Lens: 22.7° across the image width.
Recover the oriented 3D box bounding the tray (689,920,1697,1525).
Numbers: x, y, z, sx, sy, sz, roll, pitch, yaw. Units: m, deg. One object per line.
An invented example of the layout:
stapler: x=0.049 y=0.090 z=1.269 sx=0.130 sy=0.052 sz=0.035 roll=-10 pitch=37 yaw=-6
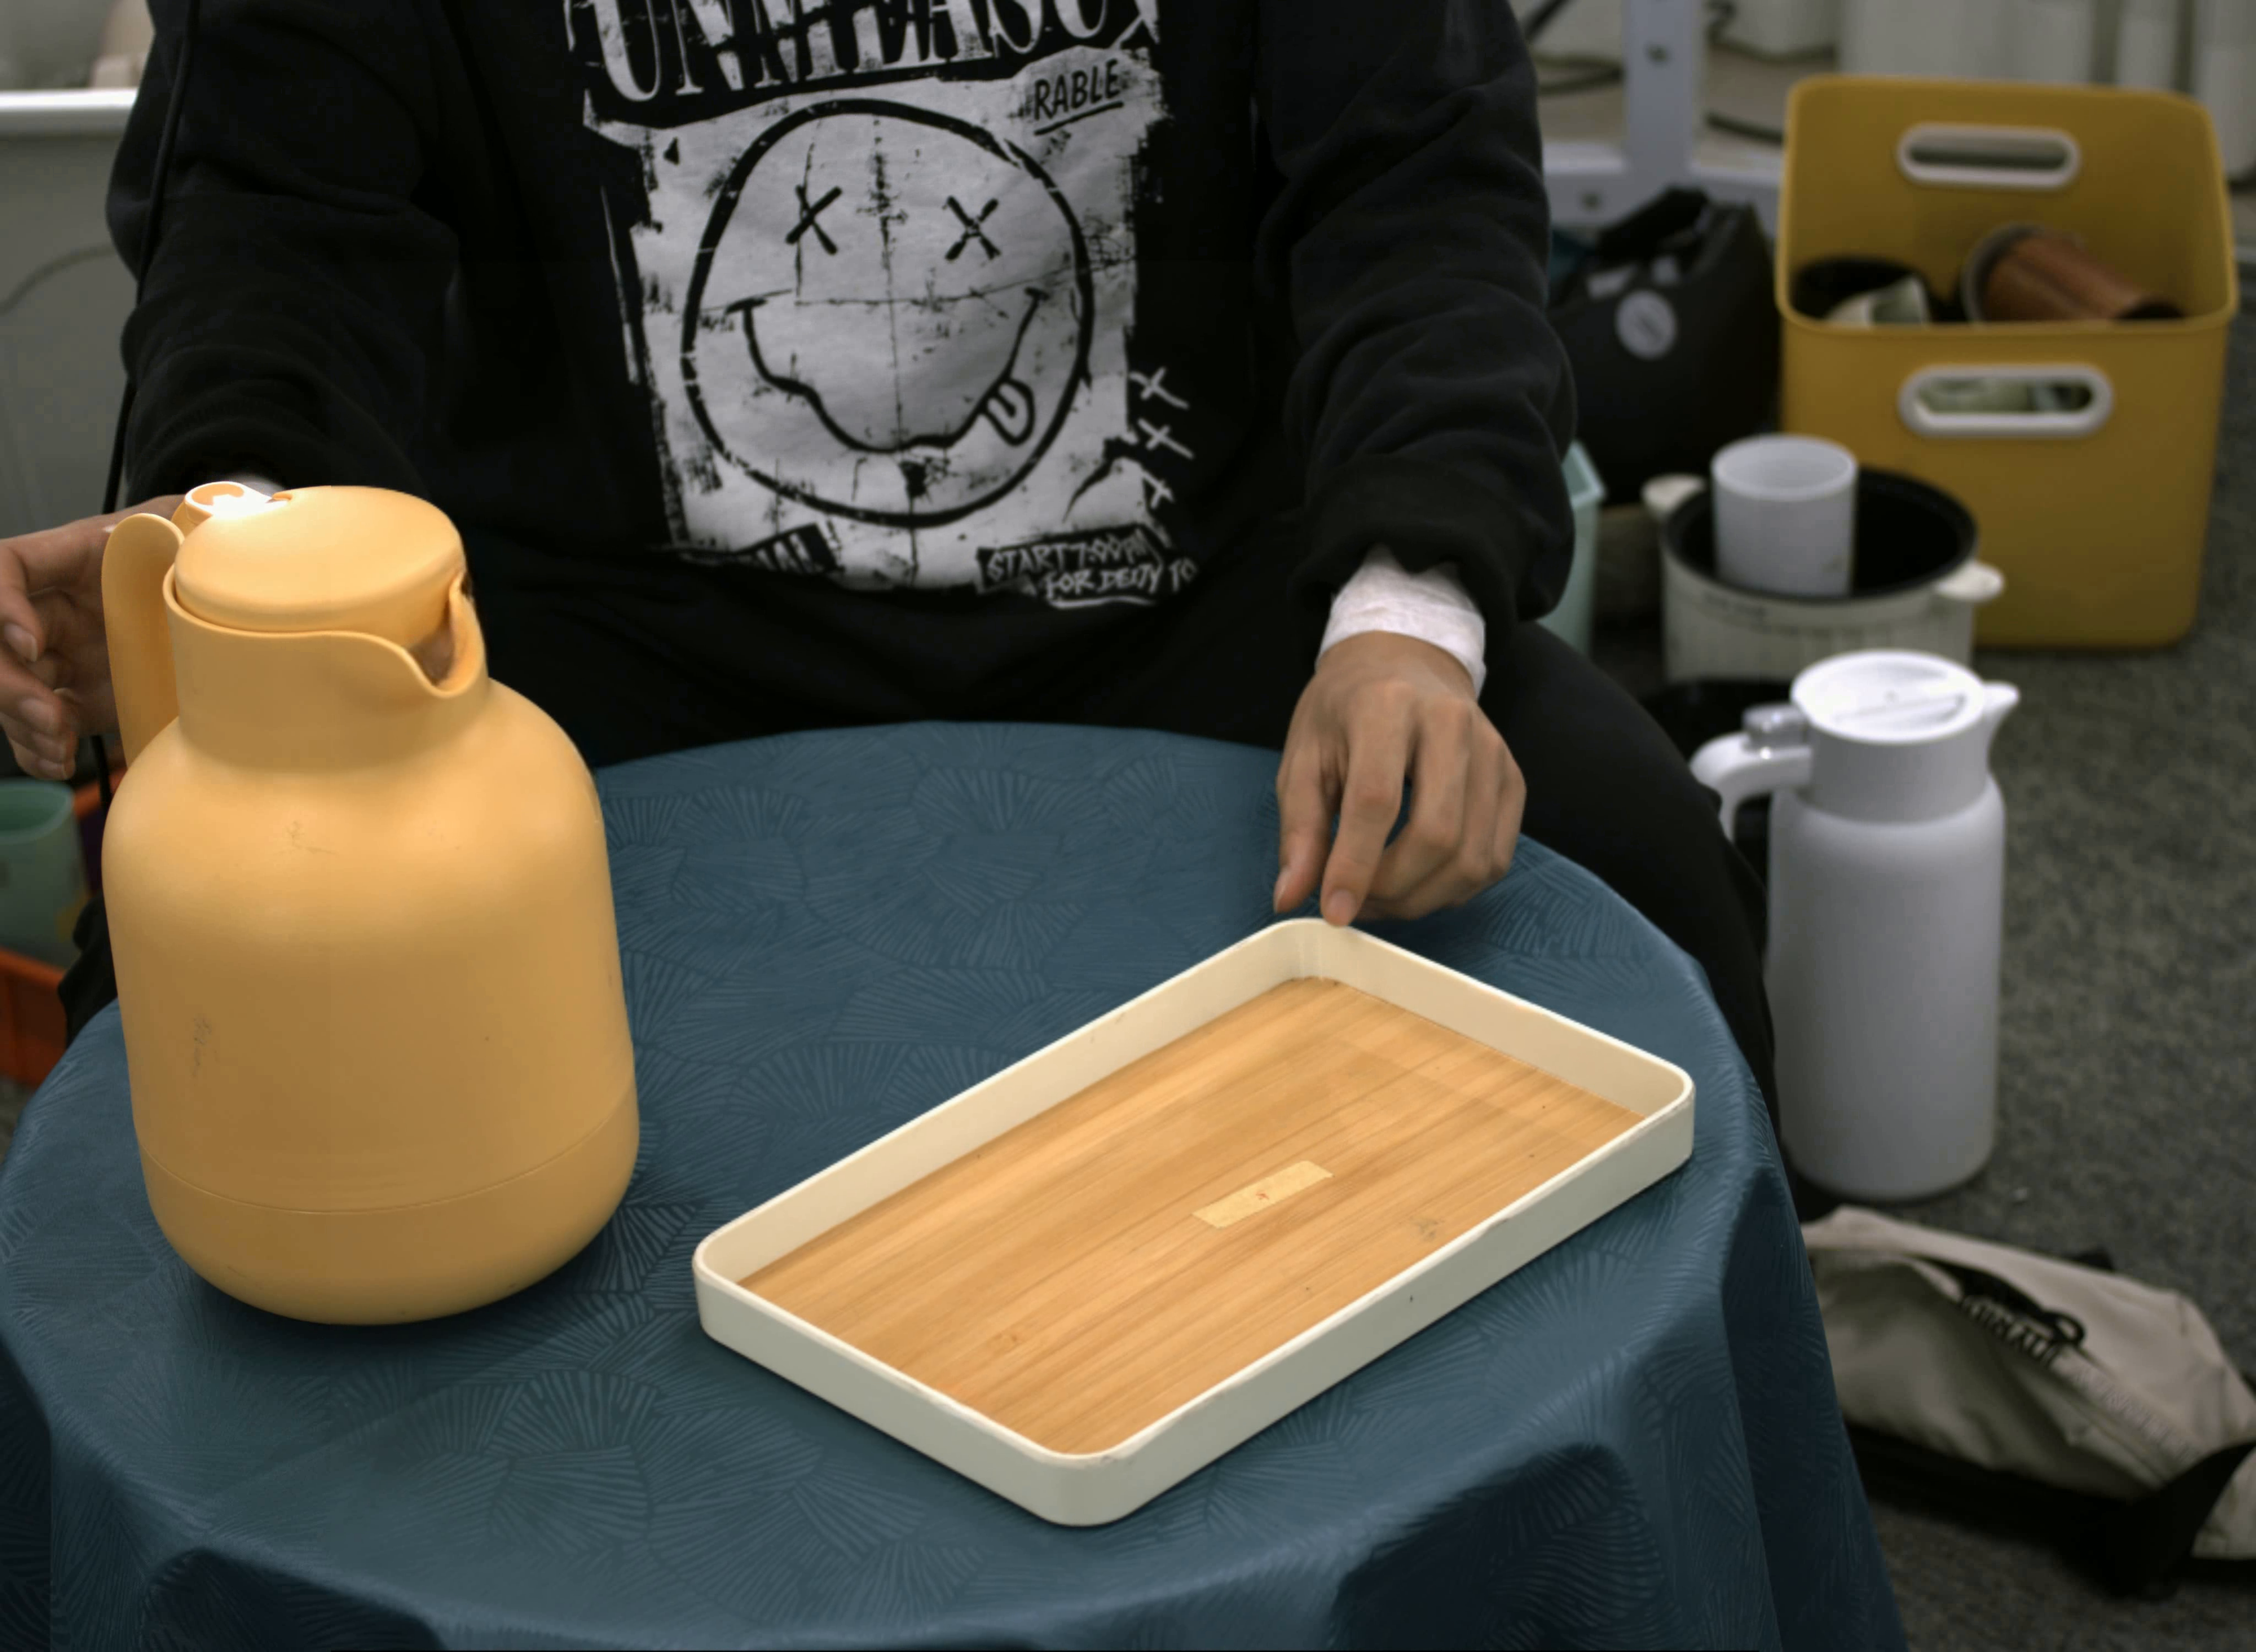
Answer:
tray: x=0.024 y=0.122 z=1.827 sx=0.191 sy=0.027 sz=0.304 roll=23 pitch=36 yaw=39

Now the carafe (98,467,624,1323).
carafe: x=-0.259 y=0.012 z=1.815 sx=0.165 sy=0.257 sz=0.203 roll=-19 pitch=32 yaw=-34
